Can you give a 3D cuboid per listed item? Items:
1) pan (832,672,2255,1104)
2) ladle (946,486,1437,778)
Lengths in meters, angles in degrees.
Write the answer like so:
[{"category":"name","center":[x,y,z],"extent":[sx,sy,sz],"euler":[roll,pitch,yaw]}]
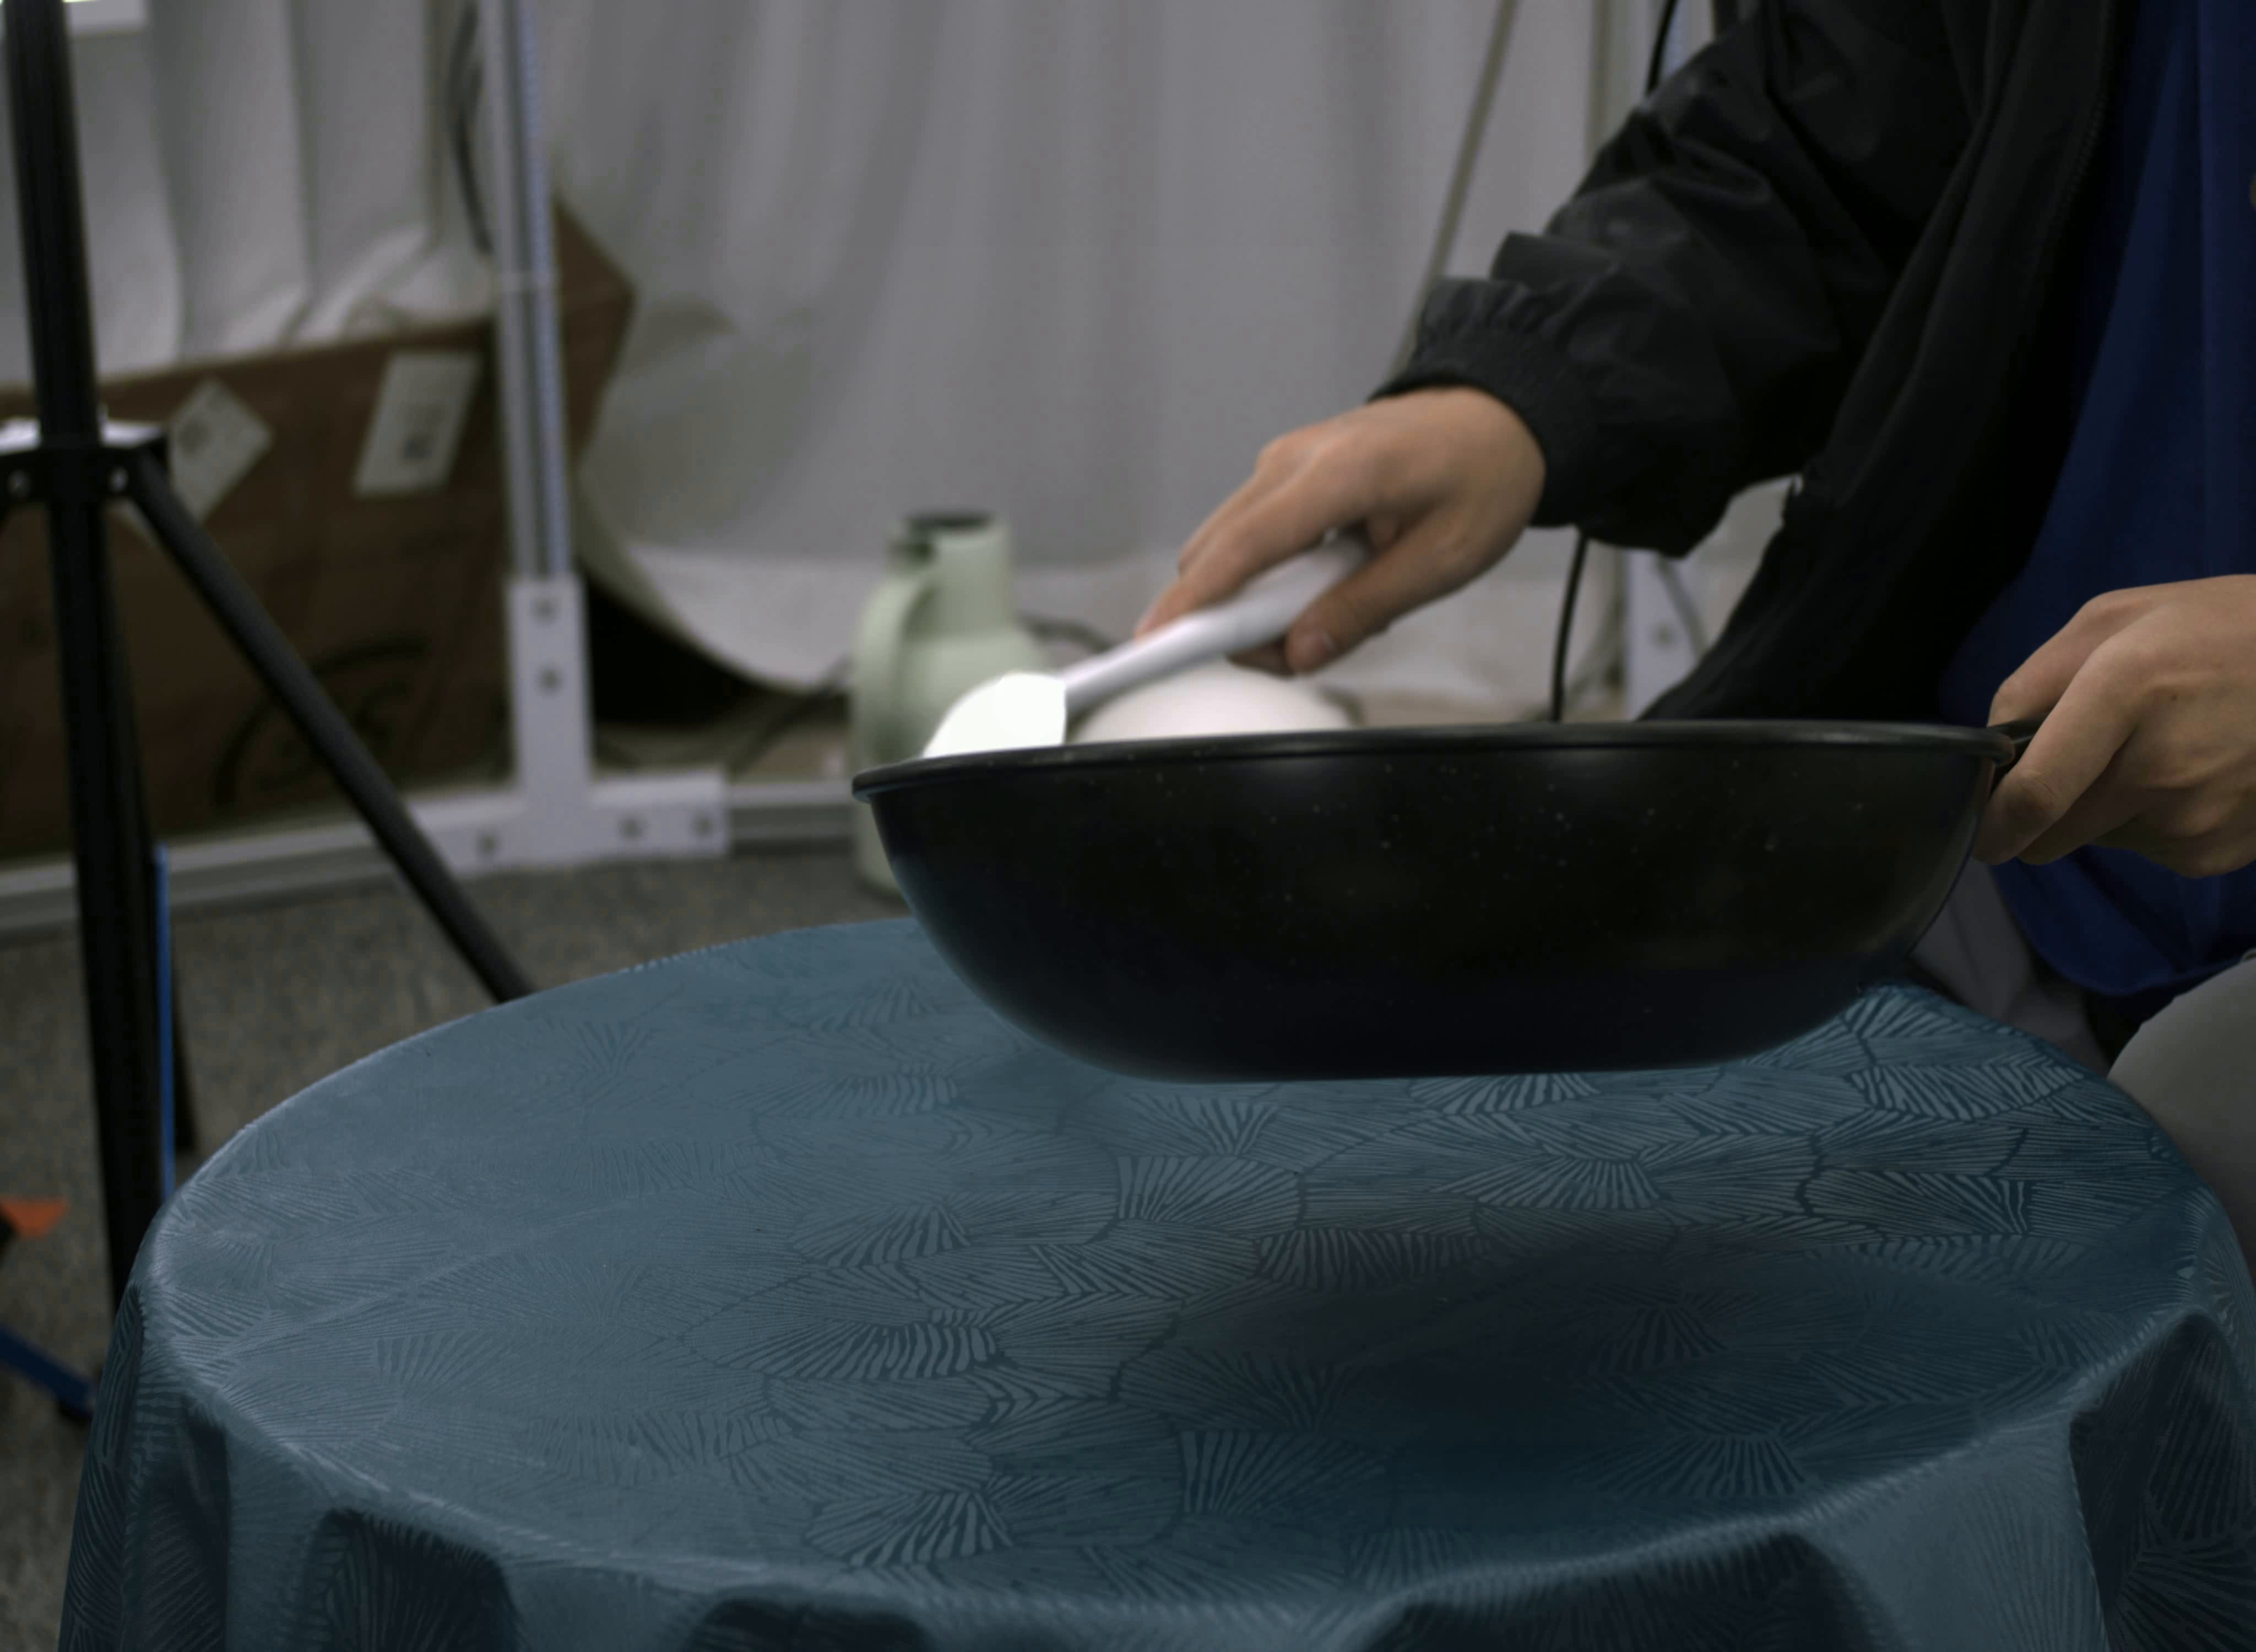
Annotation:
[{"category":"pan","center":[0.145,0.015,1.446],"extent":[0.465,0.112,0.316],"euler":[-1,-1,-34]},{"category":"ladle","center":[0.033,-0.068,1.747],"extent":[0.071,0.090,0.287],"euler":[20,22,30]}]
